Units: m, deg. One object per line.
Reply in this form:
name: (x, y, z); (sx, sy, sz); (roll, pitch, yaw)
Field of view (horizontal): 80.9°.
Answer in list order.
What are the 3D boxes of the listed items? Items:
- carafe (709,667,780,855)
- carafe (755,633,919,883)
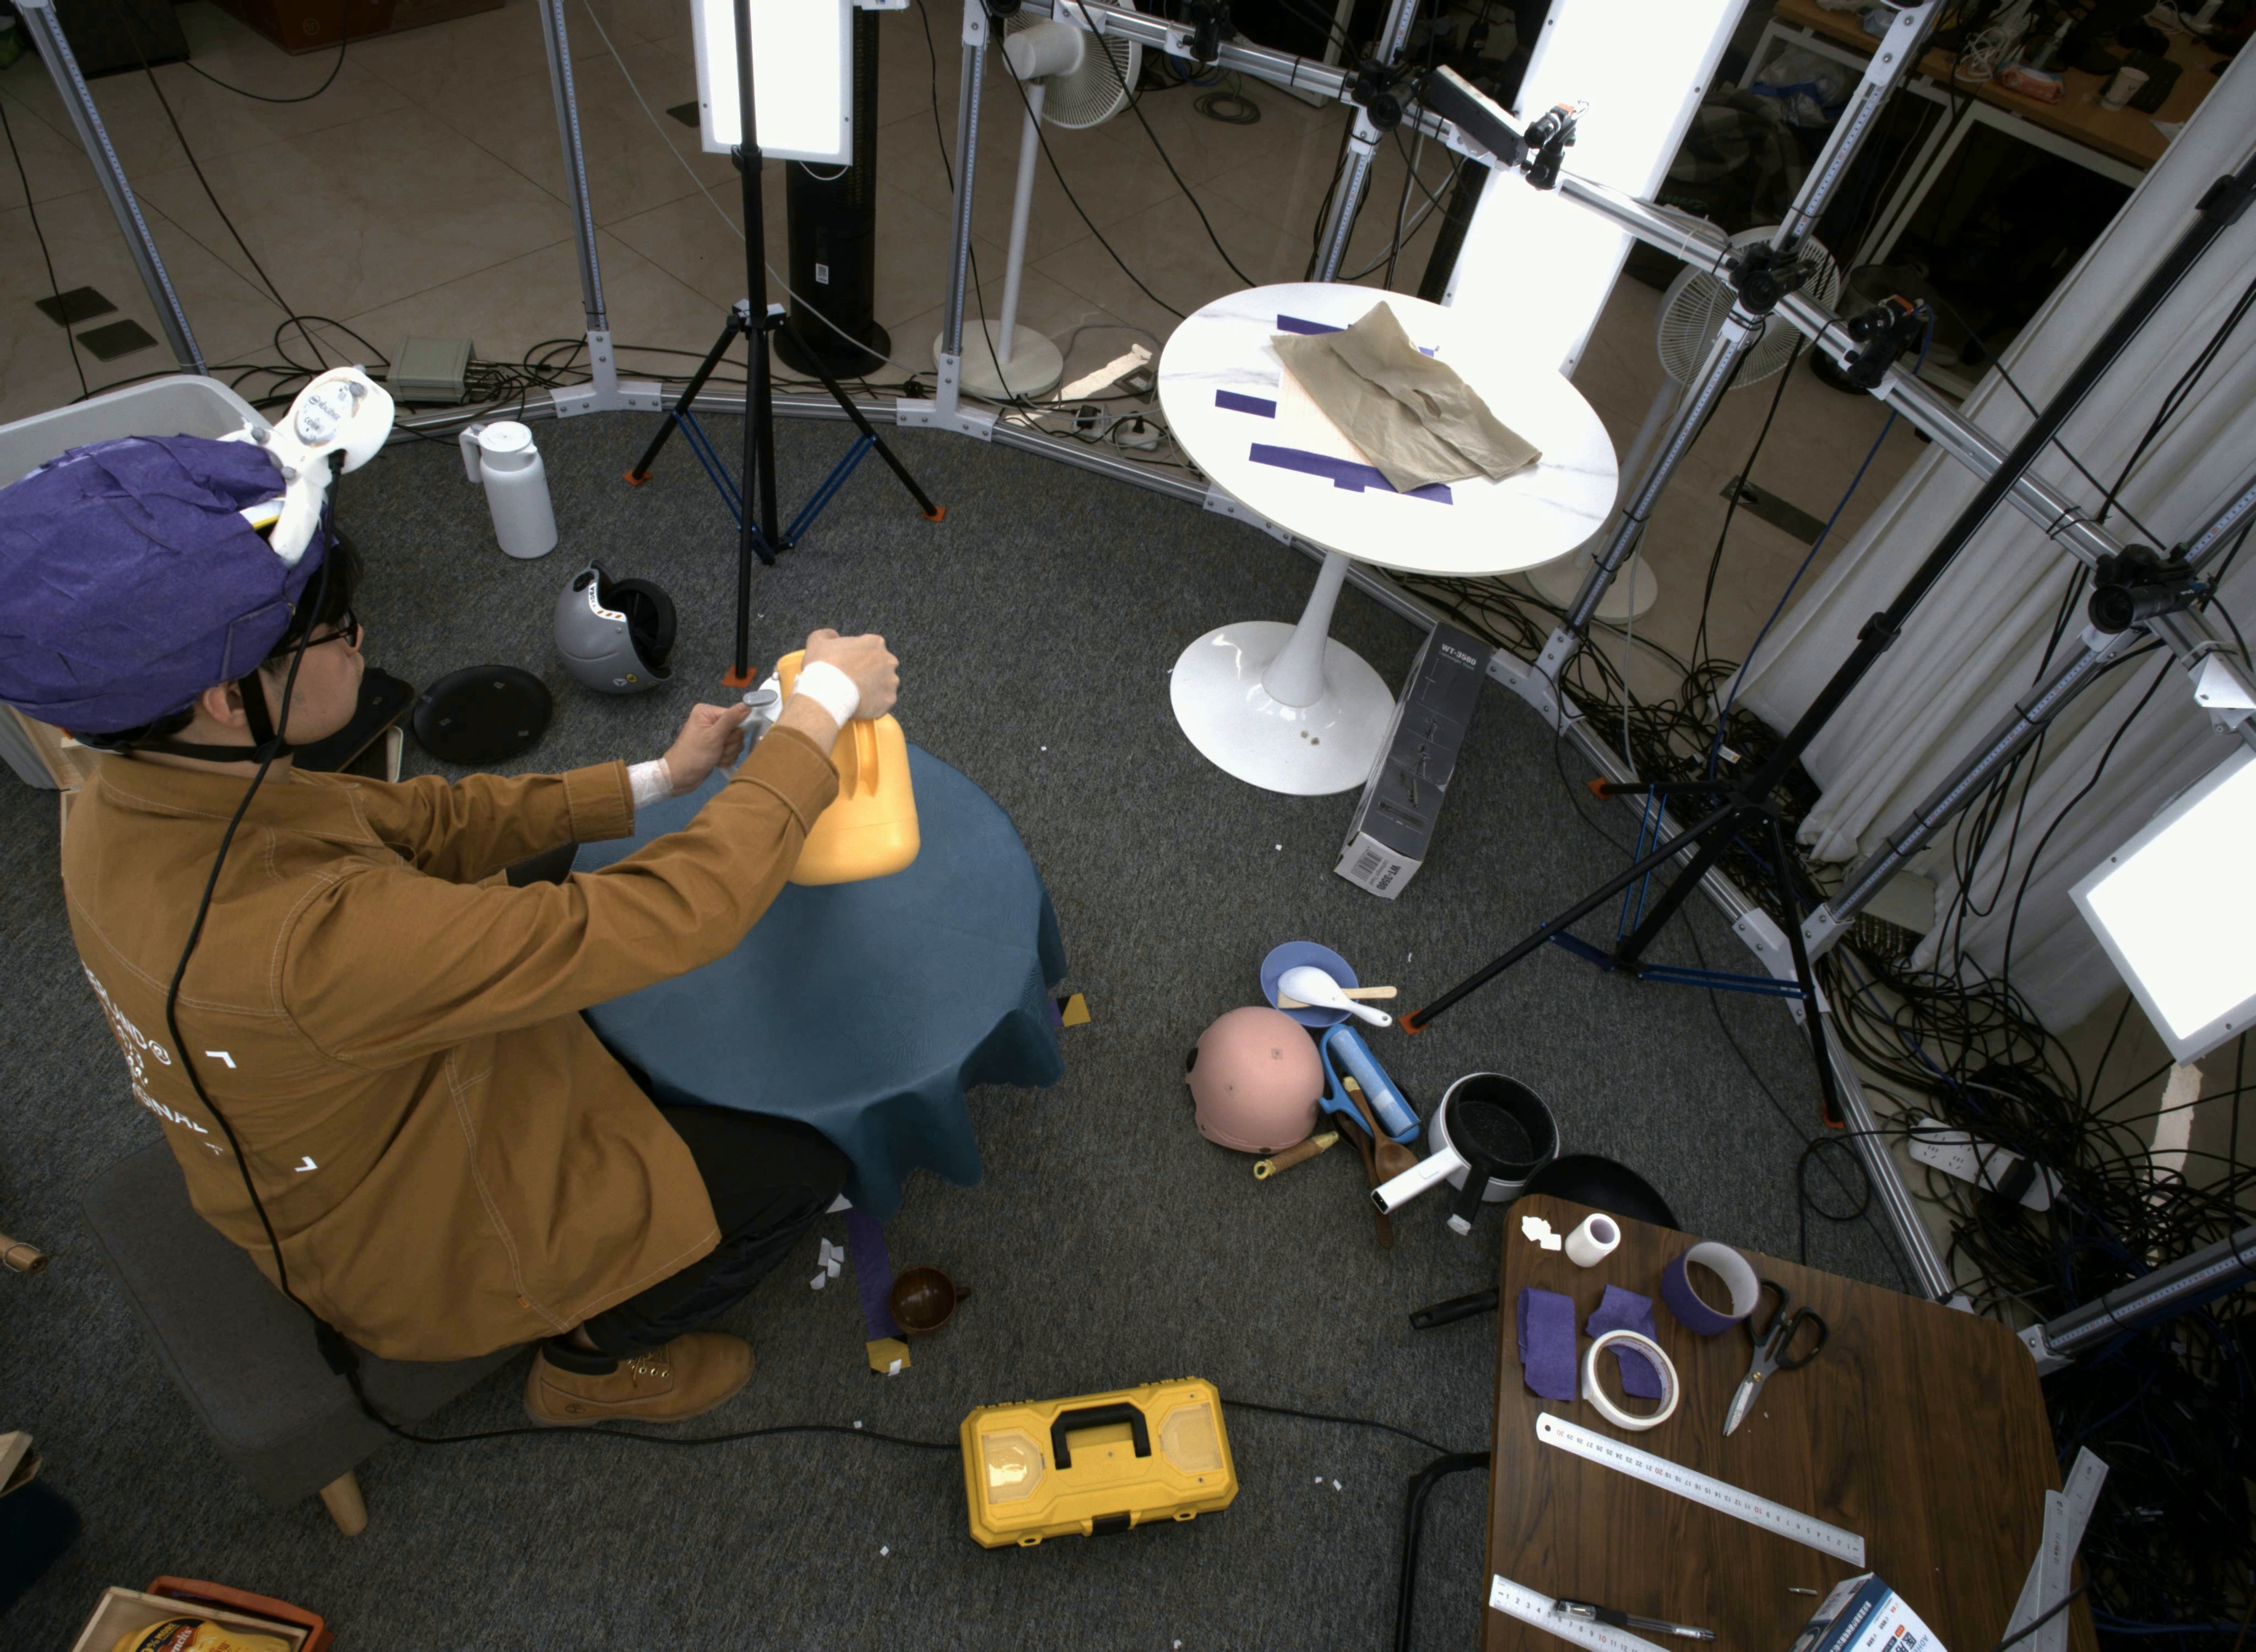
carafe: (-0.435, -0.084, 1.621); (0.168, 0.254, 0.129); (-4, 53, -14)
carafe: (-0.320, -0.076, 1.415); (0.165, 0.197, 0.265); (-13, 95, -28)
